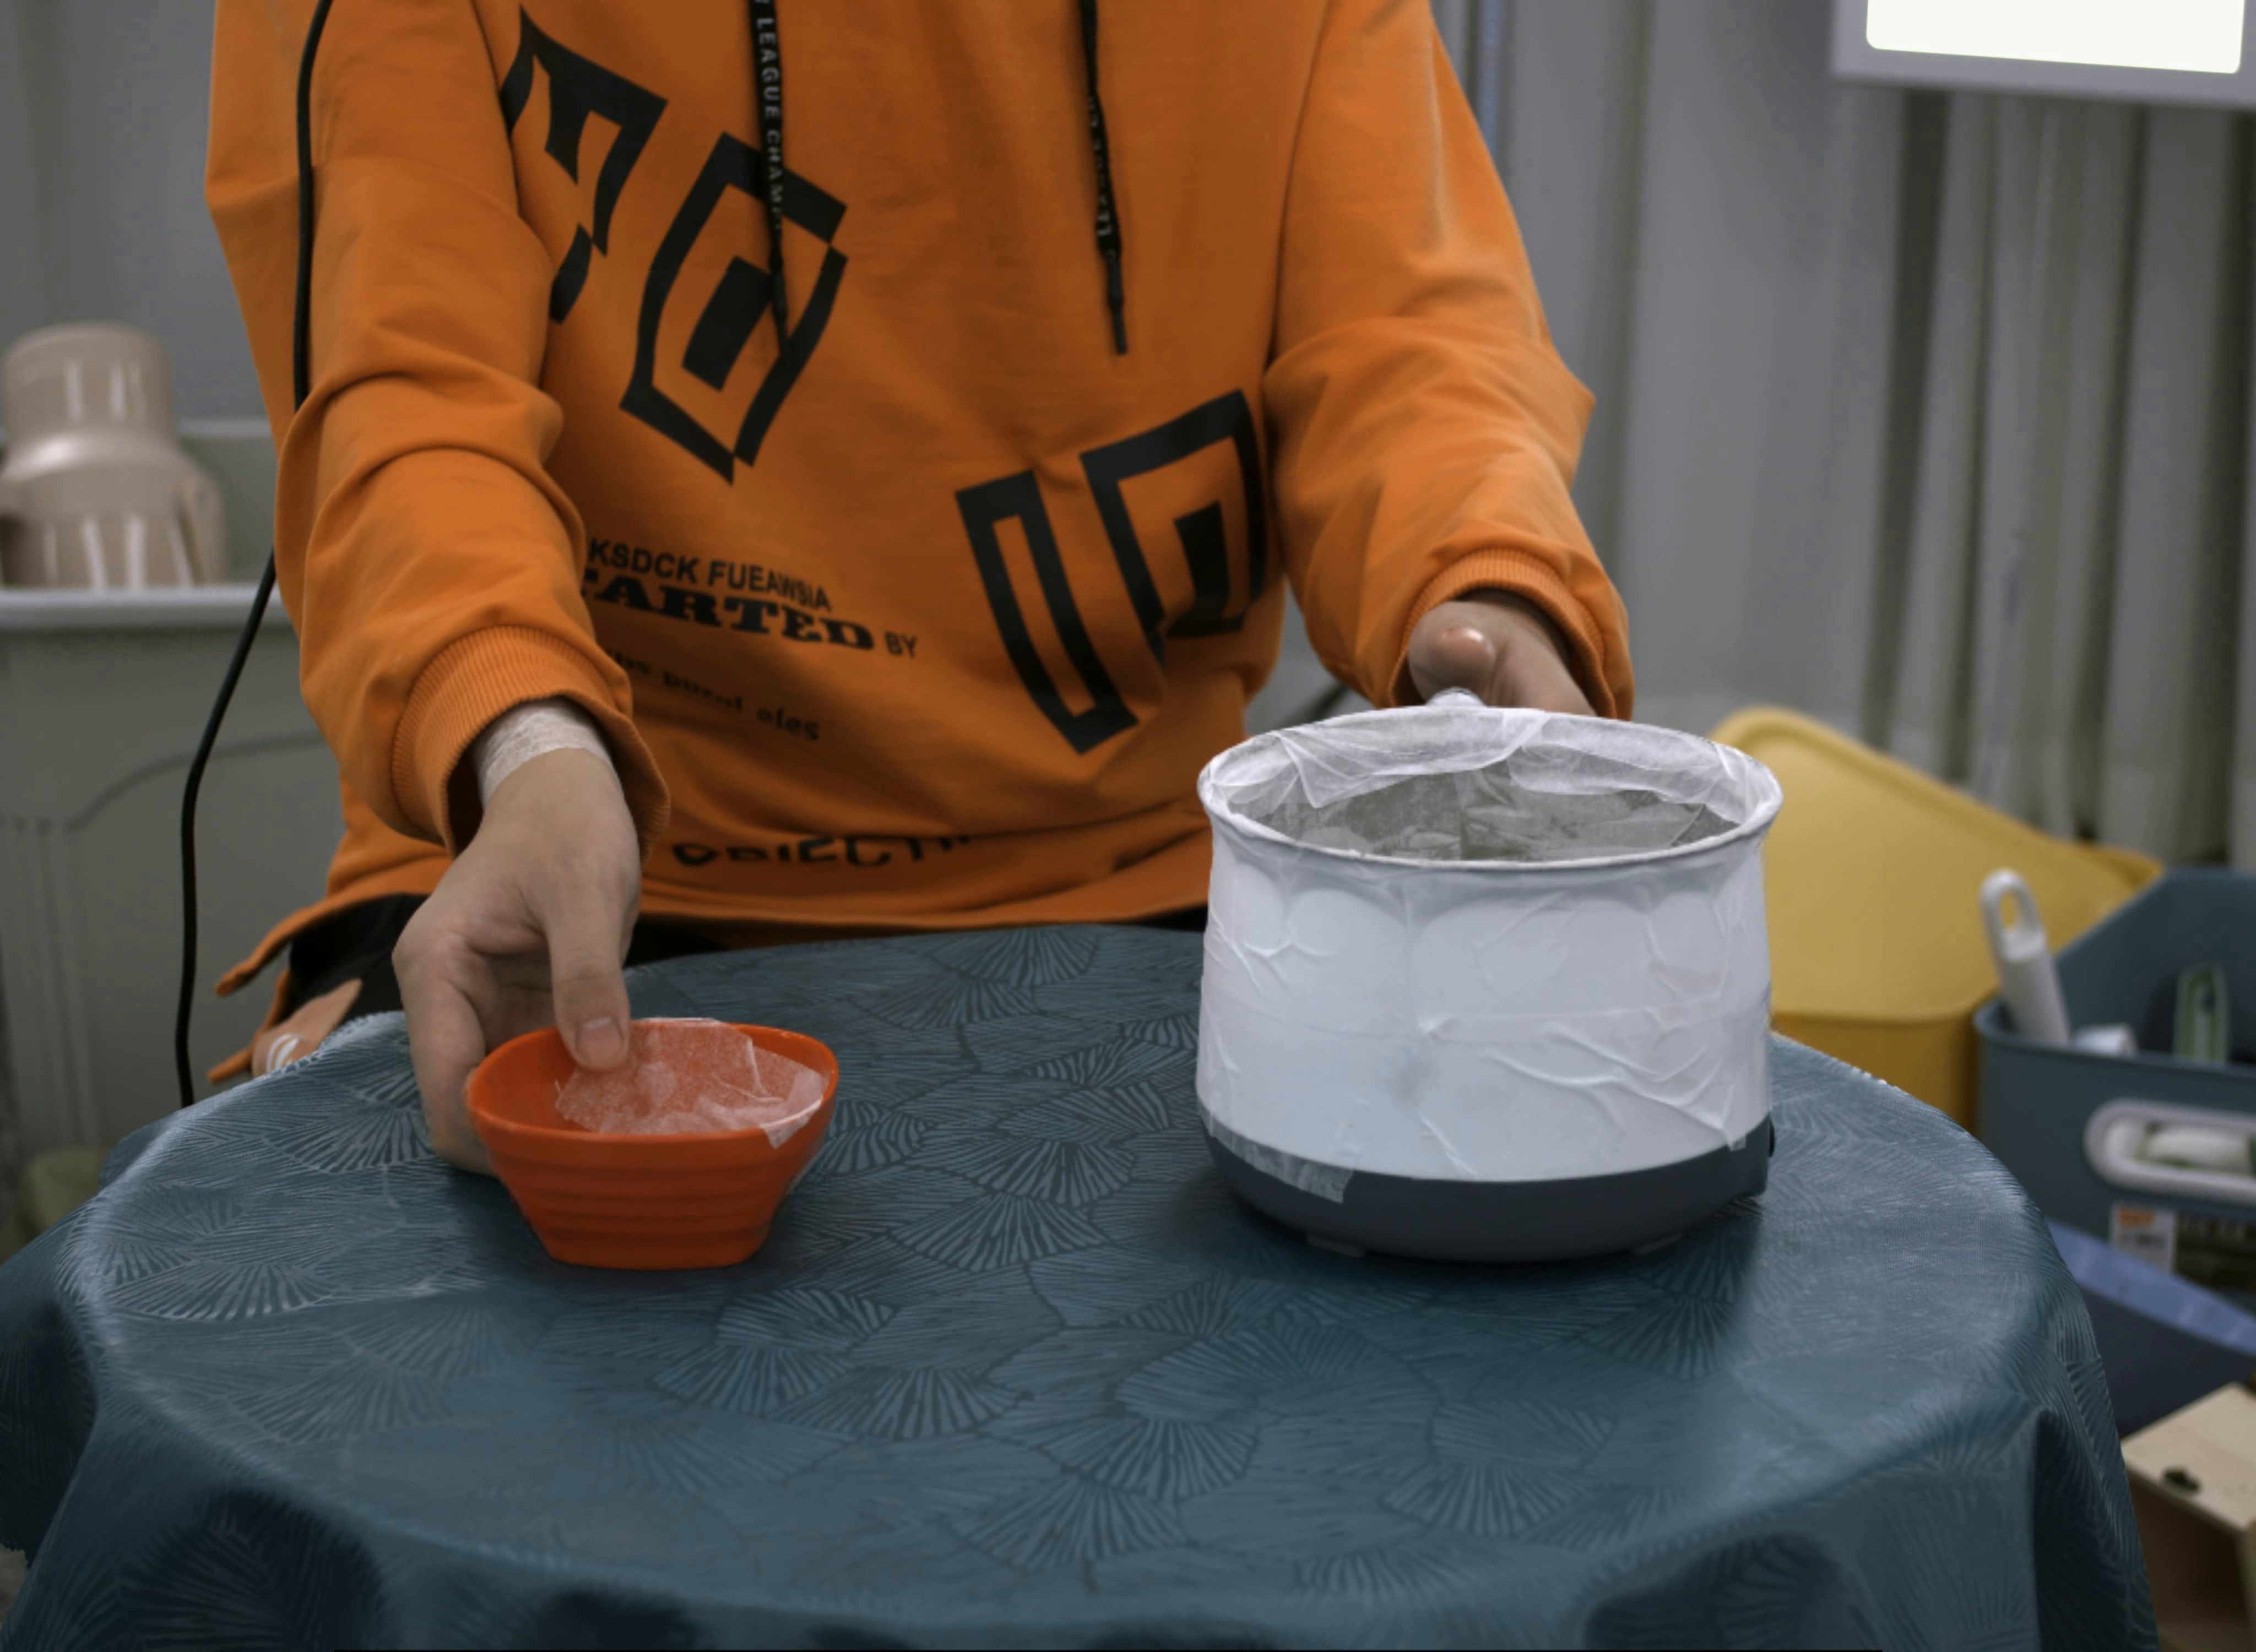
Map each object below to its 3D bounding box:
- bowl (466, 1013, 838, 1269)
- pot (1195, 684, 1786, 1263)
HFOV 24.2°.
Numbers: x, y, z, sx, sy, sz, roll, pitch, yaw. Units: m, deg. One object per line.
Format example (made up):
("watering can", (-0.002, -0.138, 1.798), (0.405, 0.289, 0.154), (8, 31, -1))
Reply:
("bowl", (-0.141, 0.097, 1.576), (0.118, 0.052, 0.118), (0, 18, 1))
("pot", (0.107, 0.040, 1.627), (0.178, 0.138, 0.232), (0, 16, -4))
